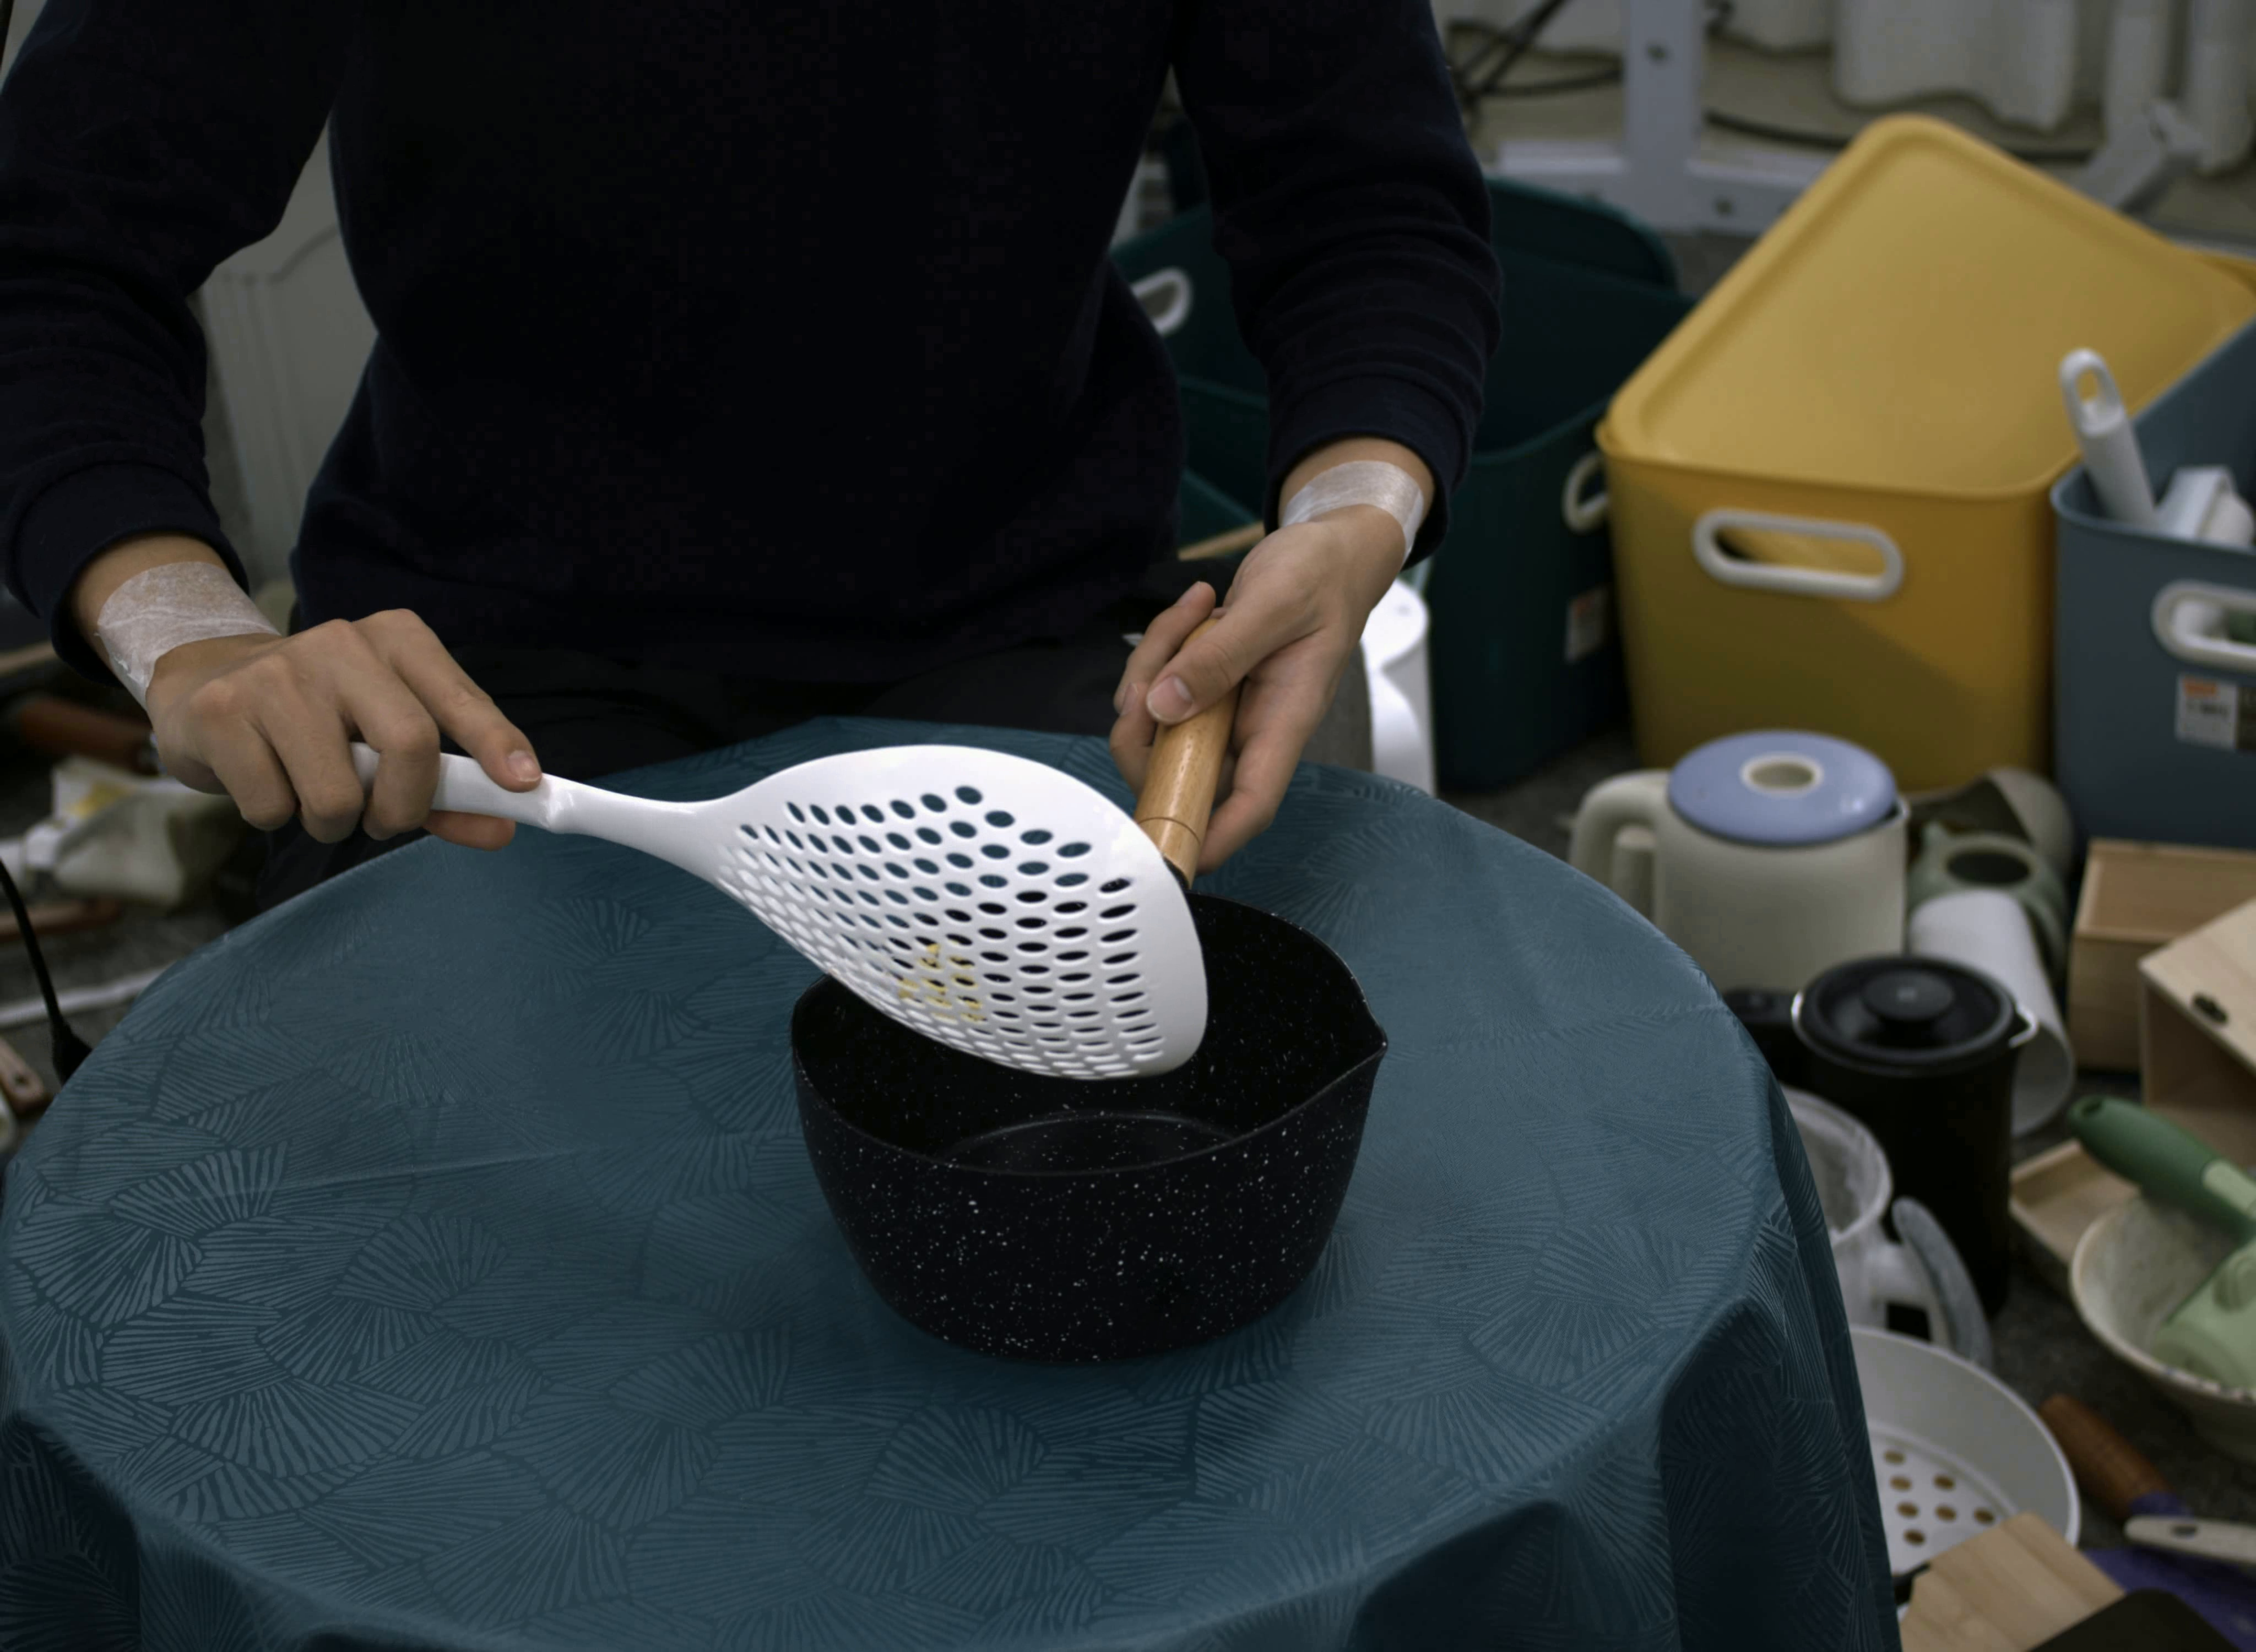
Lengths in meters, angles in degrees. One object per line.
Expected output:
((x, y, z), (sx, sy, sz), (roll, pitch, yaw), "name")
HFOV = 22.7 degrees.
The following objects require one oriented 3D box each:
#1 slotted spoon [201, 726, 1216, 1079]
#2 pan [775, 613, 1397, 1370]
((-0.135, 0.010, 1.756), (0.346, 0.135, 0.051), (16, 47, 25), "slotted spoon")
((0.000, 0.052, 1.881), (0.206, 0.107, 0.349), (1, 29, 11), "pan")
